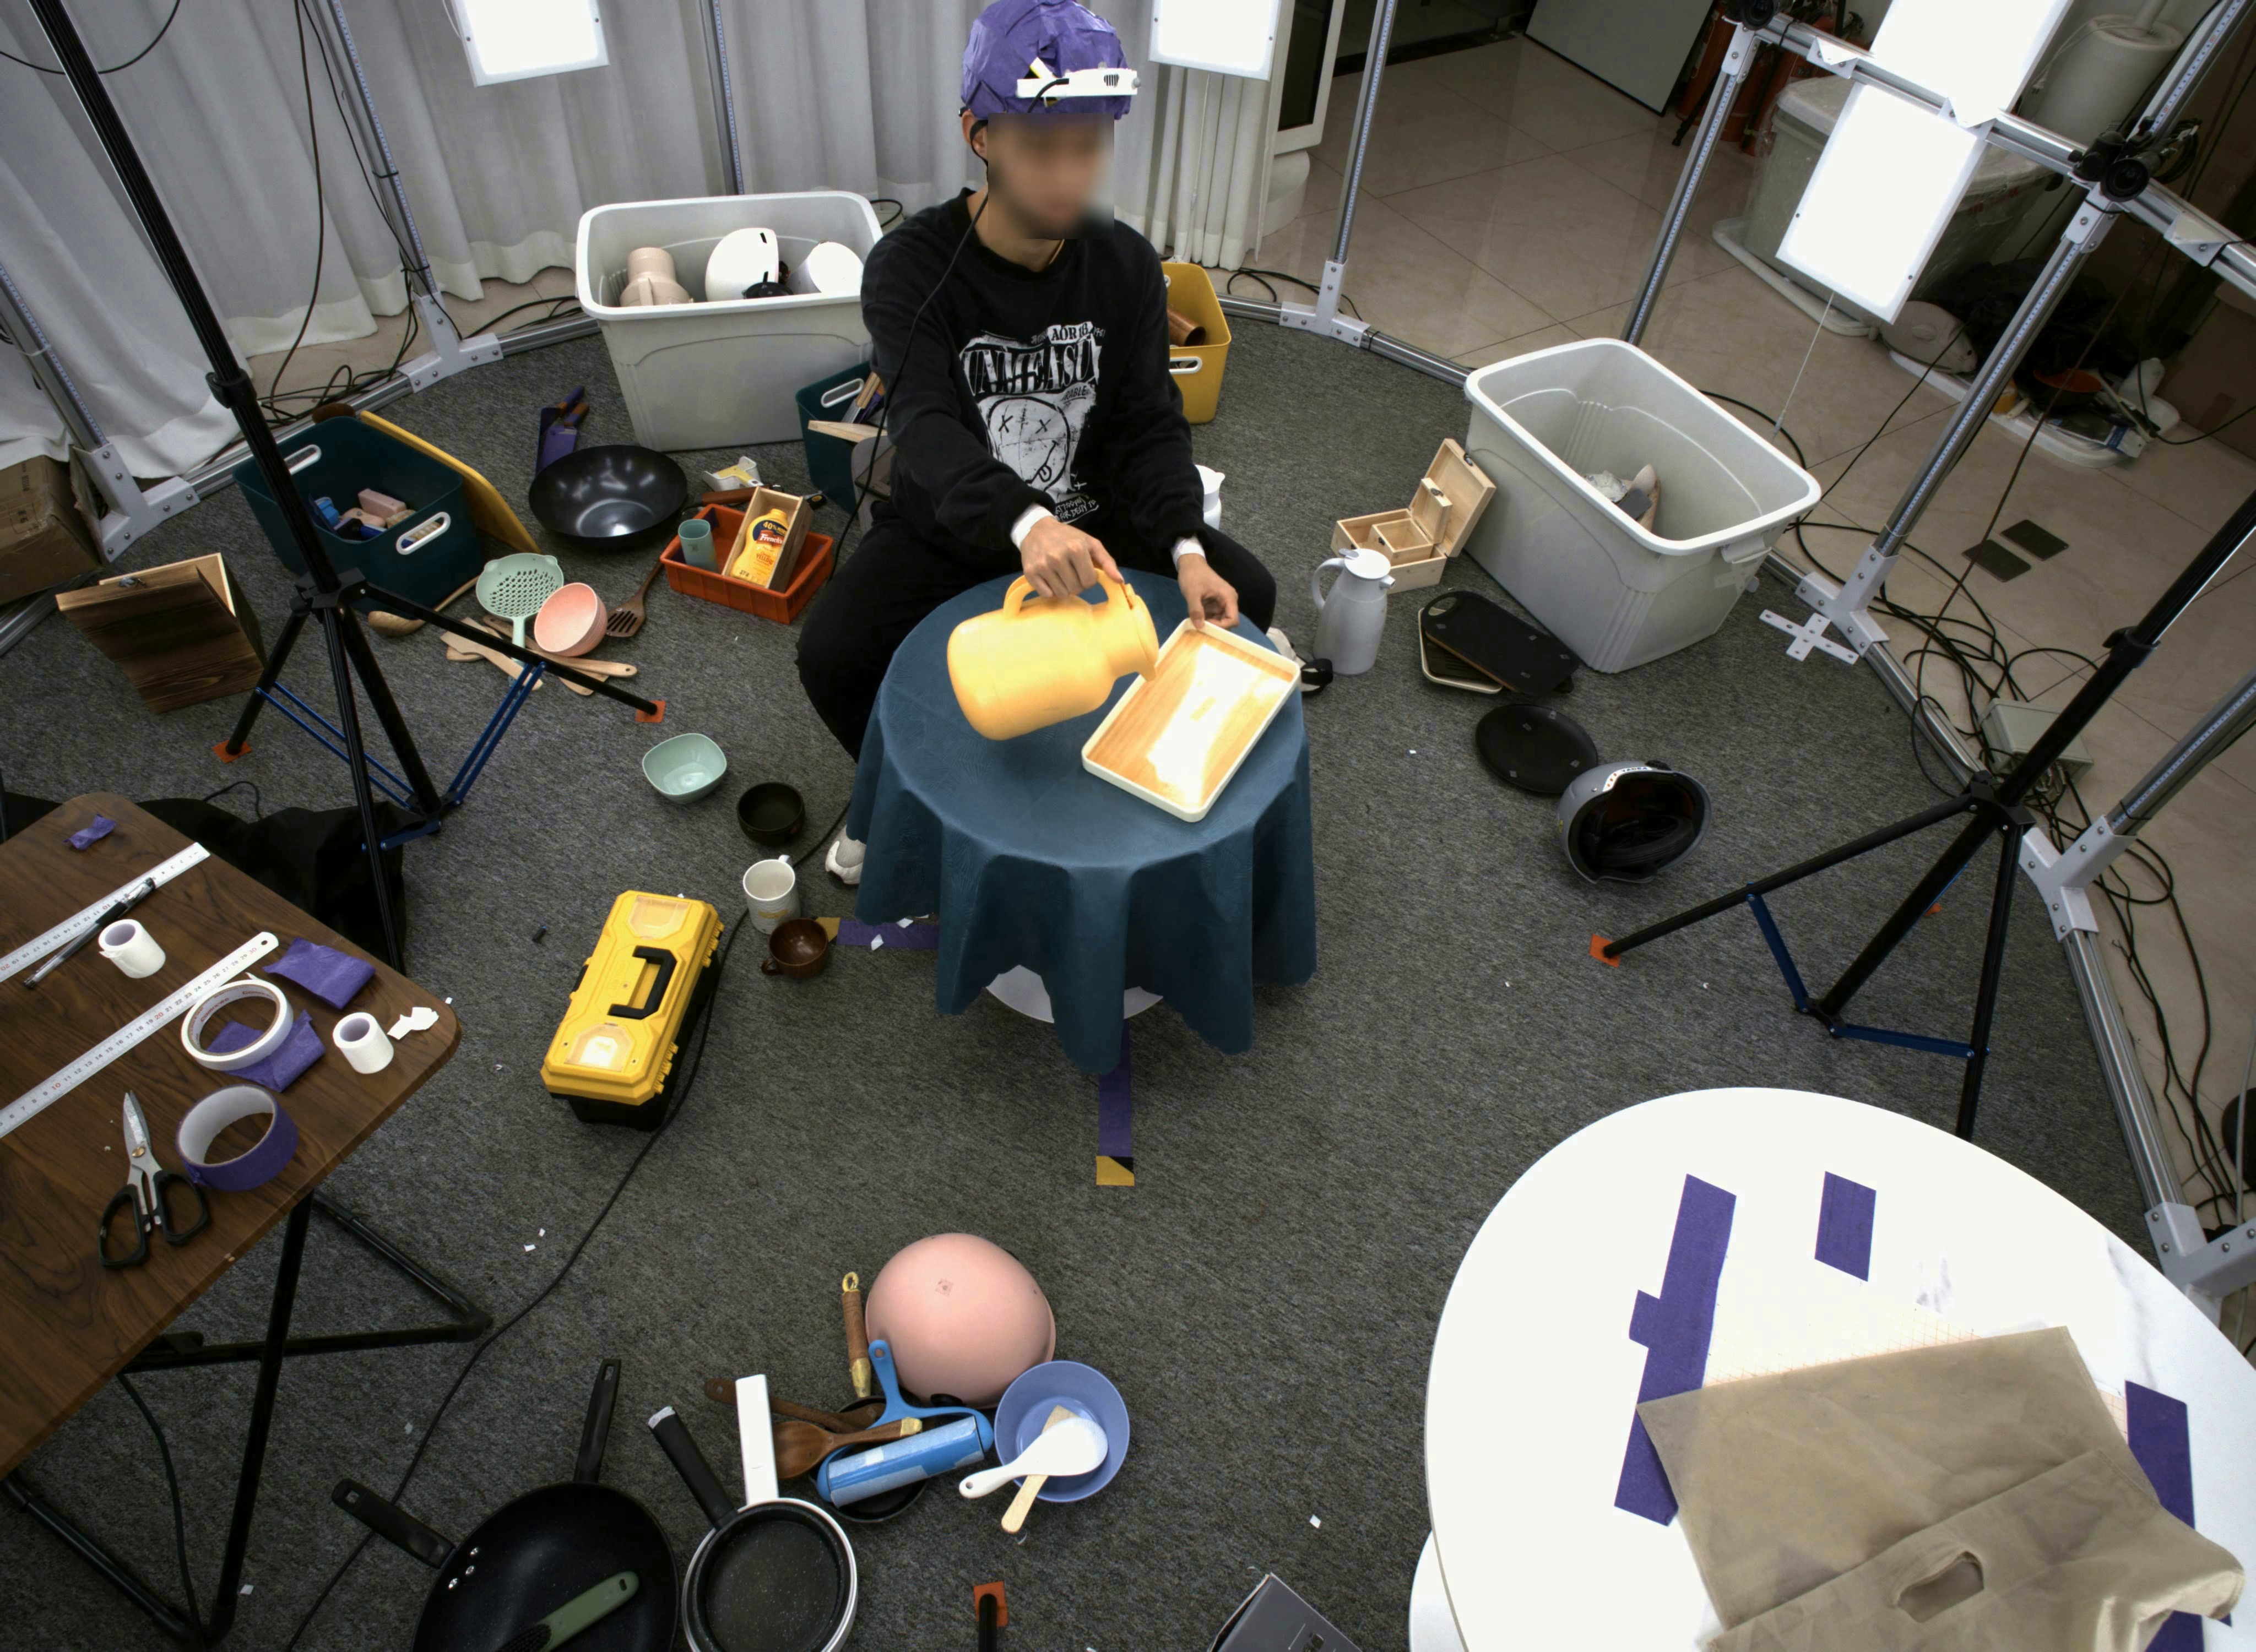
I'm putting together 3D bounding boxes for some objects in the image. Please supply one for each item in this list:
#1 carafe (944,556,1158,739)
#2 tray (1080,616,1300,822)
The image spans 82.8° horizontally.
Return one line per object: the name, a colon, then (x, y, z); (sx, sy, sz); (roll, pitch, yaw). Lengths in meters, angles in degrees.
carafe: (-0.100, -0.232, 1.634); (0.260, 0.198, 0.167); (-16, 34, 9)
tray: (0.088, -0.153, 1.765); (0.193, 0.027, 0.304); (27, 60, 18)
